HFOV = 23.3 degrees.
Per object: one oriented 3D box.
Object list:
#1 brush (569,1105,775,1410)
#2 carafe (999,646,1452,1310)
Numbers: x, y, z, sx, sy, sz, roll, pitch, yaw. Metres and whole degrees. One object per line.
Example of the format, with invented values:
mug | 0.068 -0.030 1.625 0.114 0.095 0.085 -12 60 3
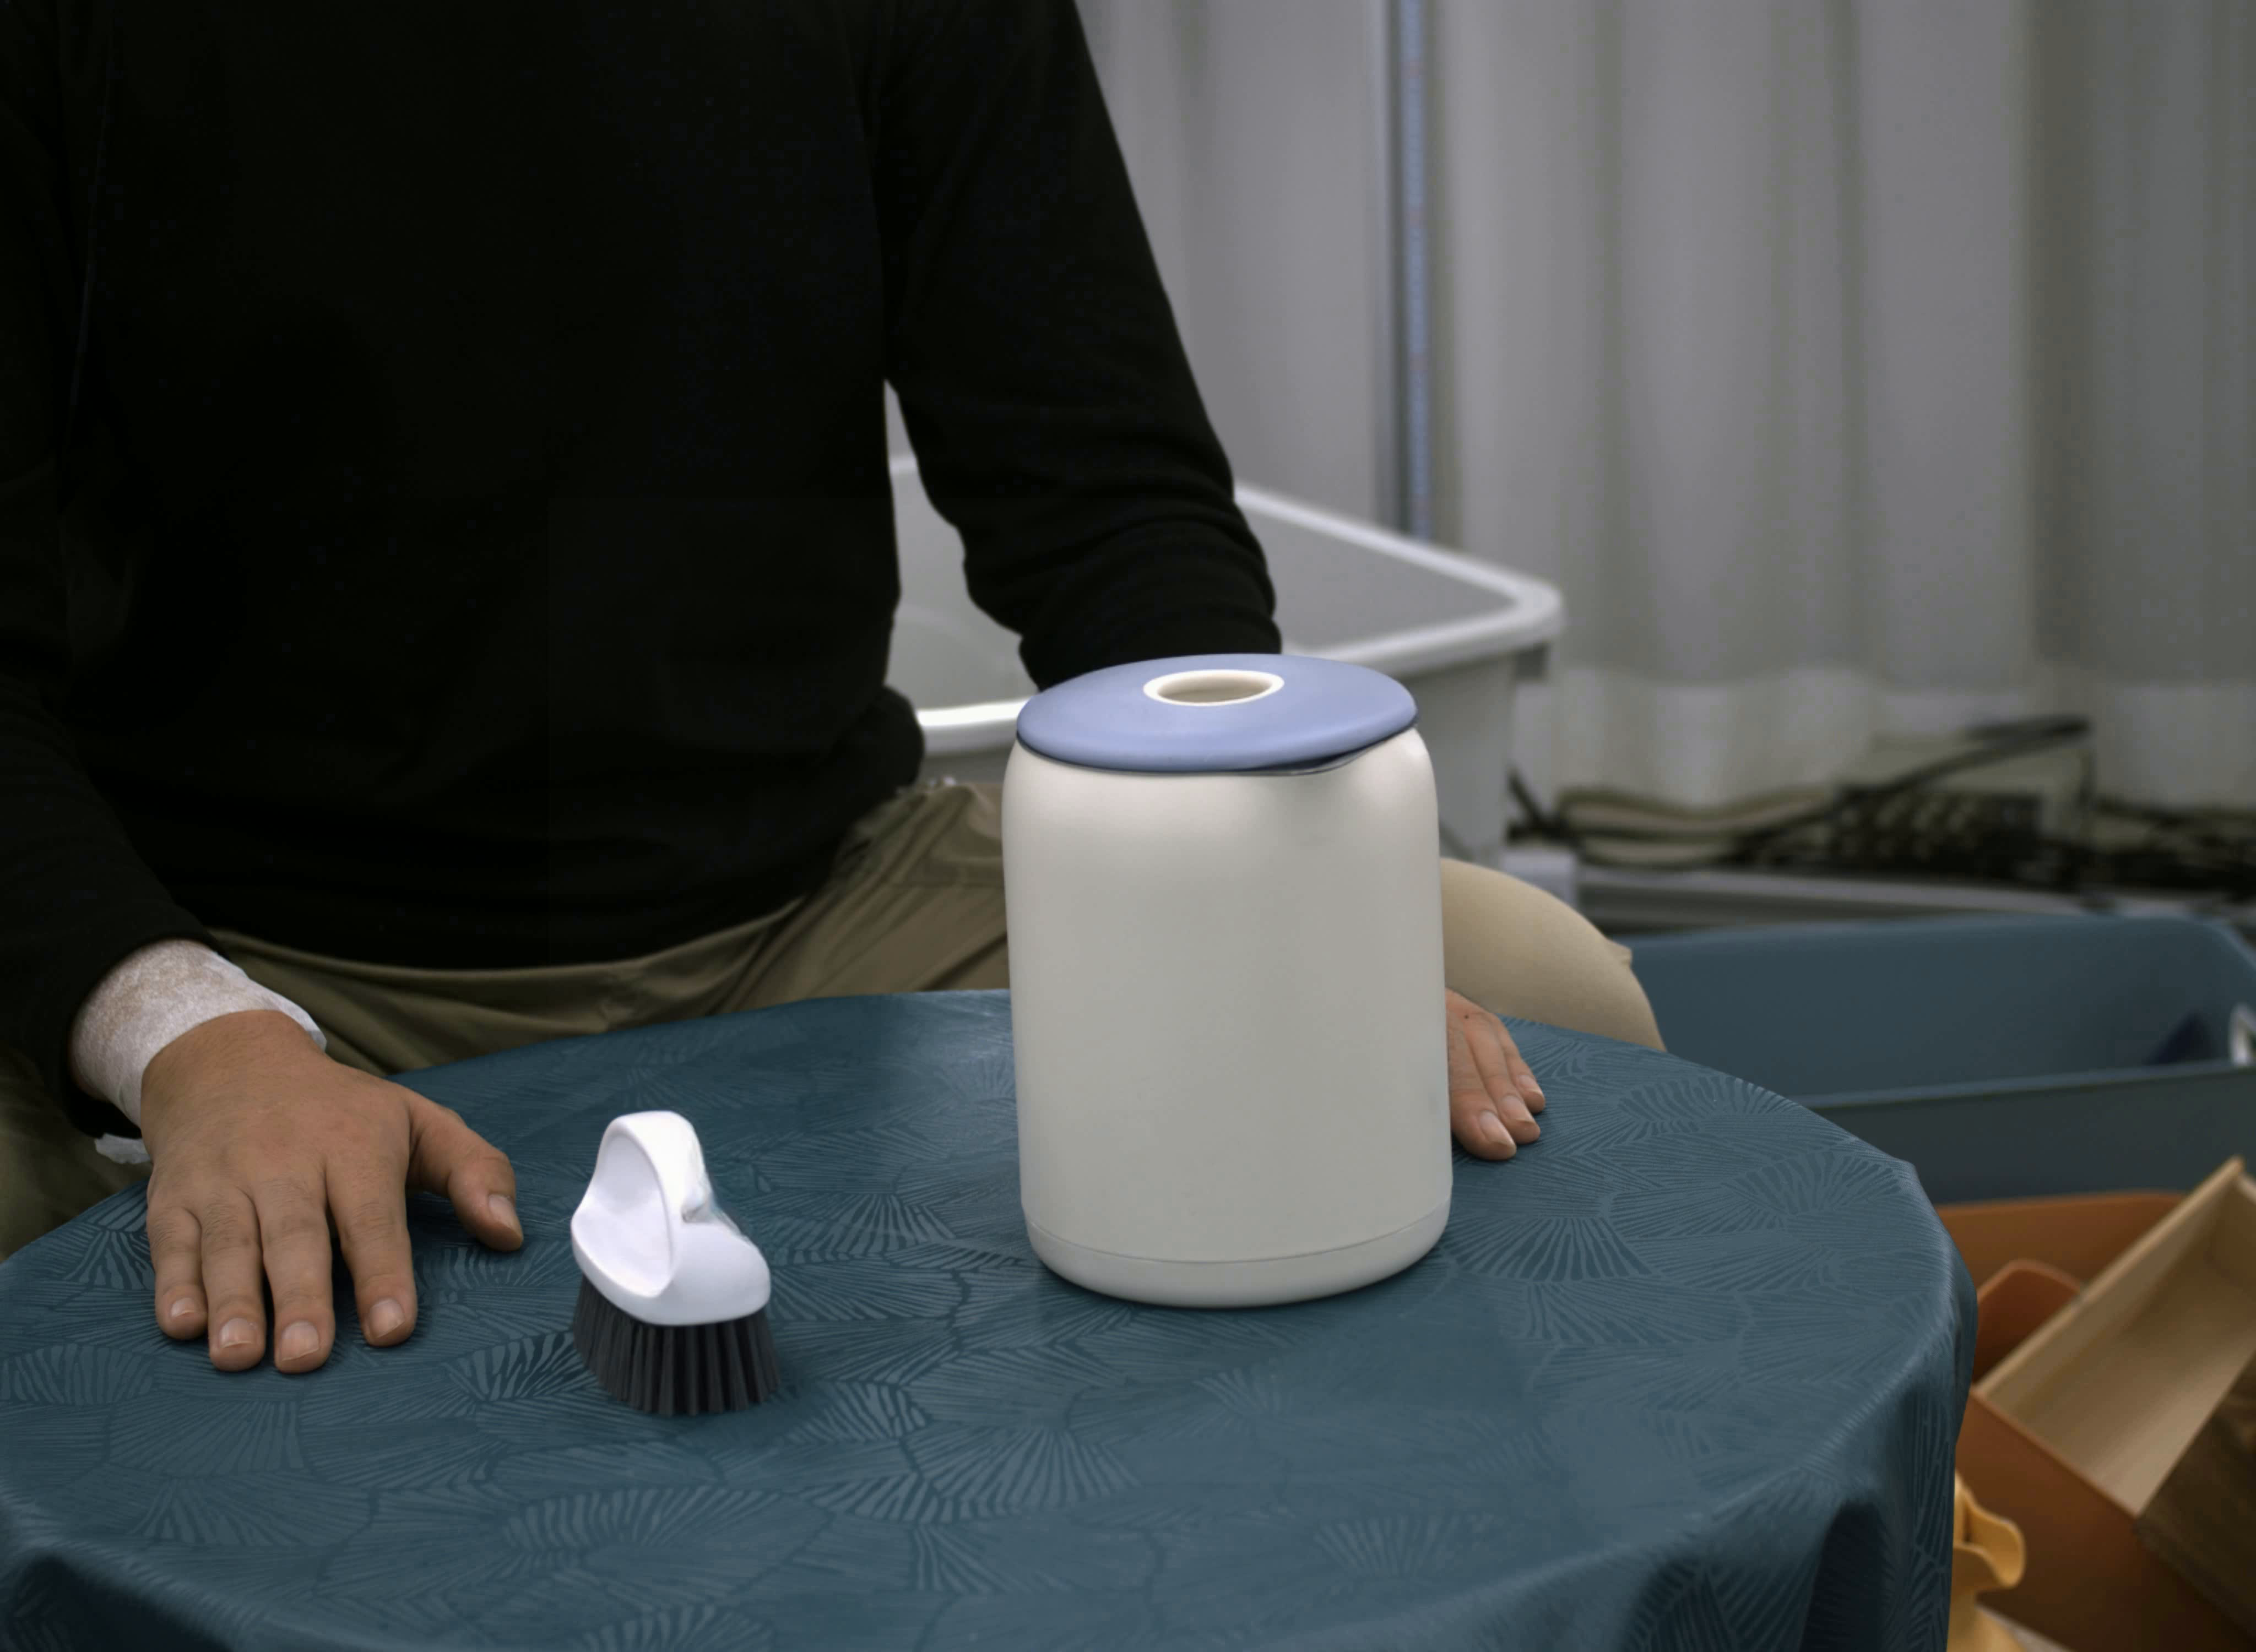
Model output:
brush | -0.134 0.119 1.579 0.050 0.072 0.100 -7 15 -16
carafe | 0.018 0.039 1.663 0.131 0.182 0.192 -9 14 -25
